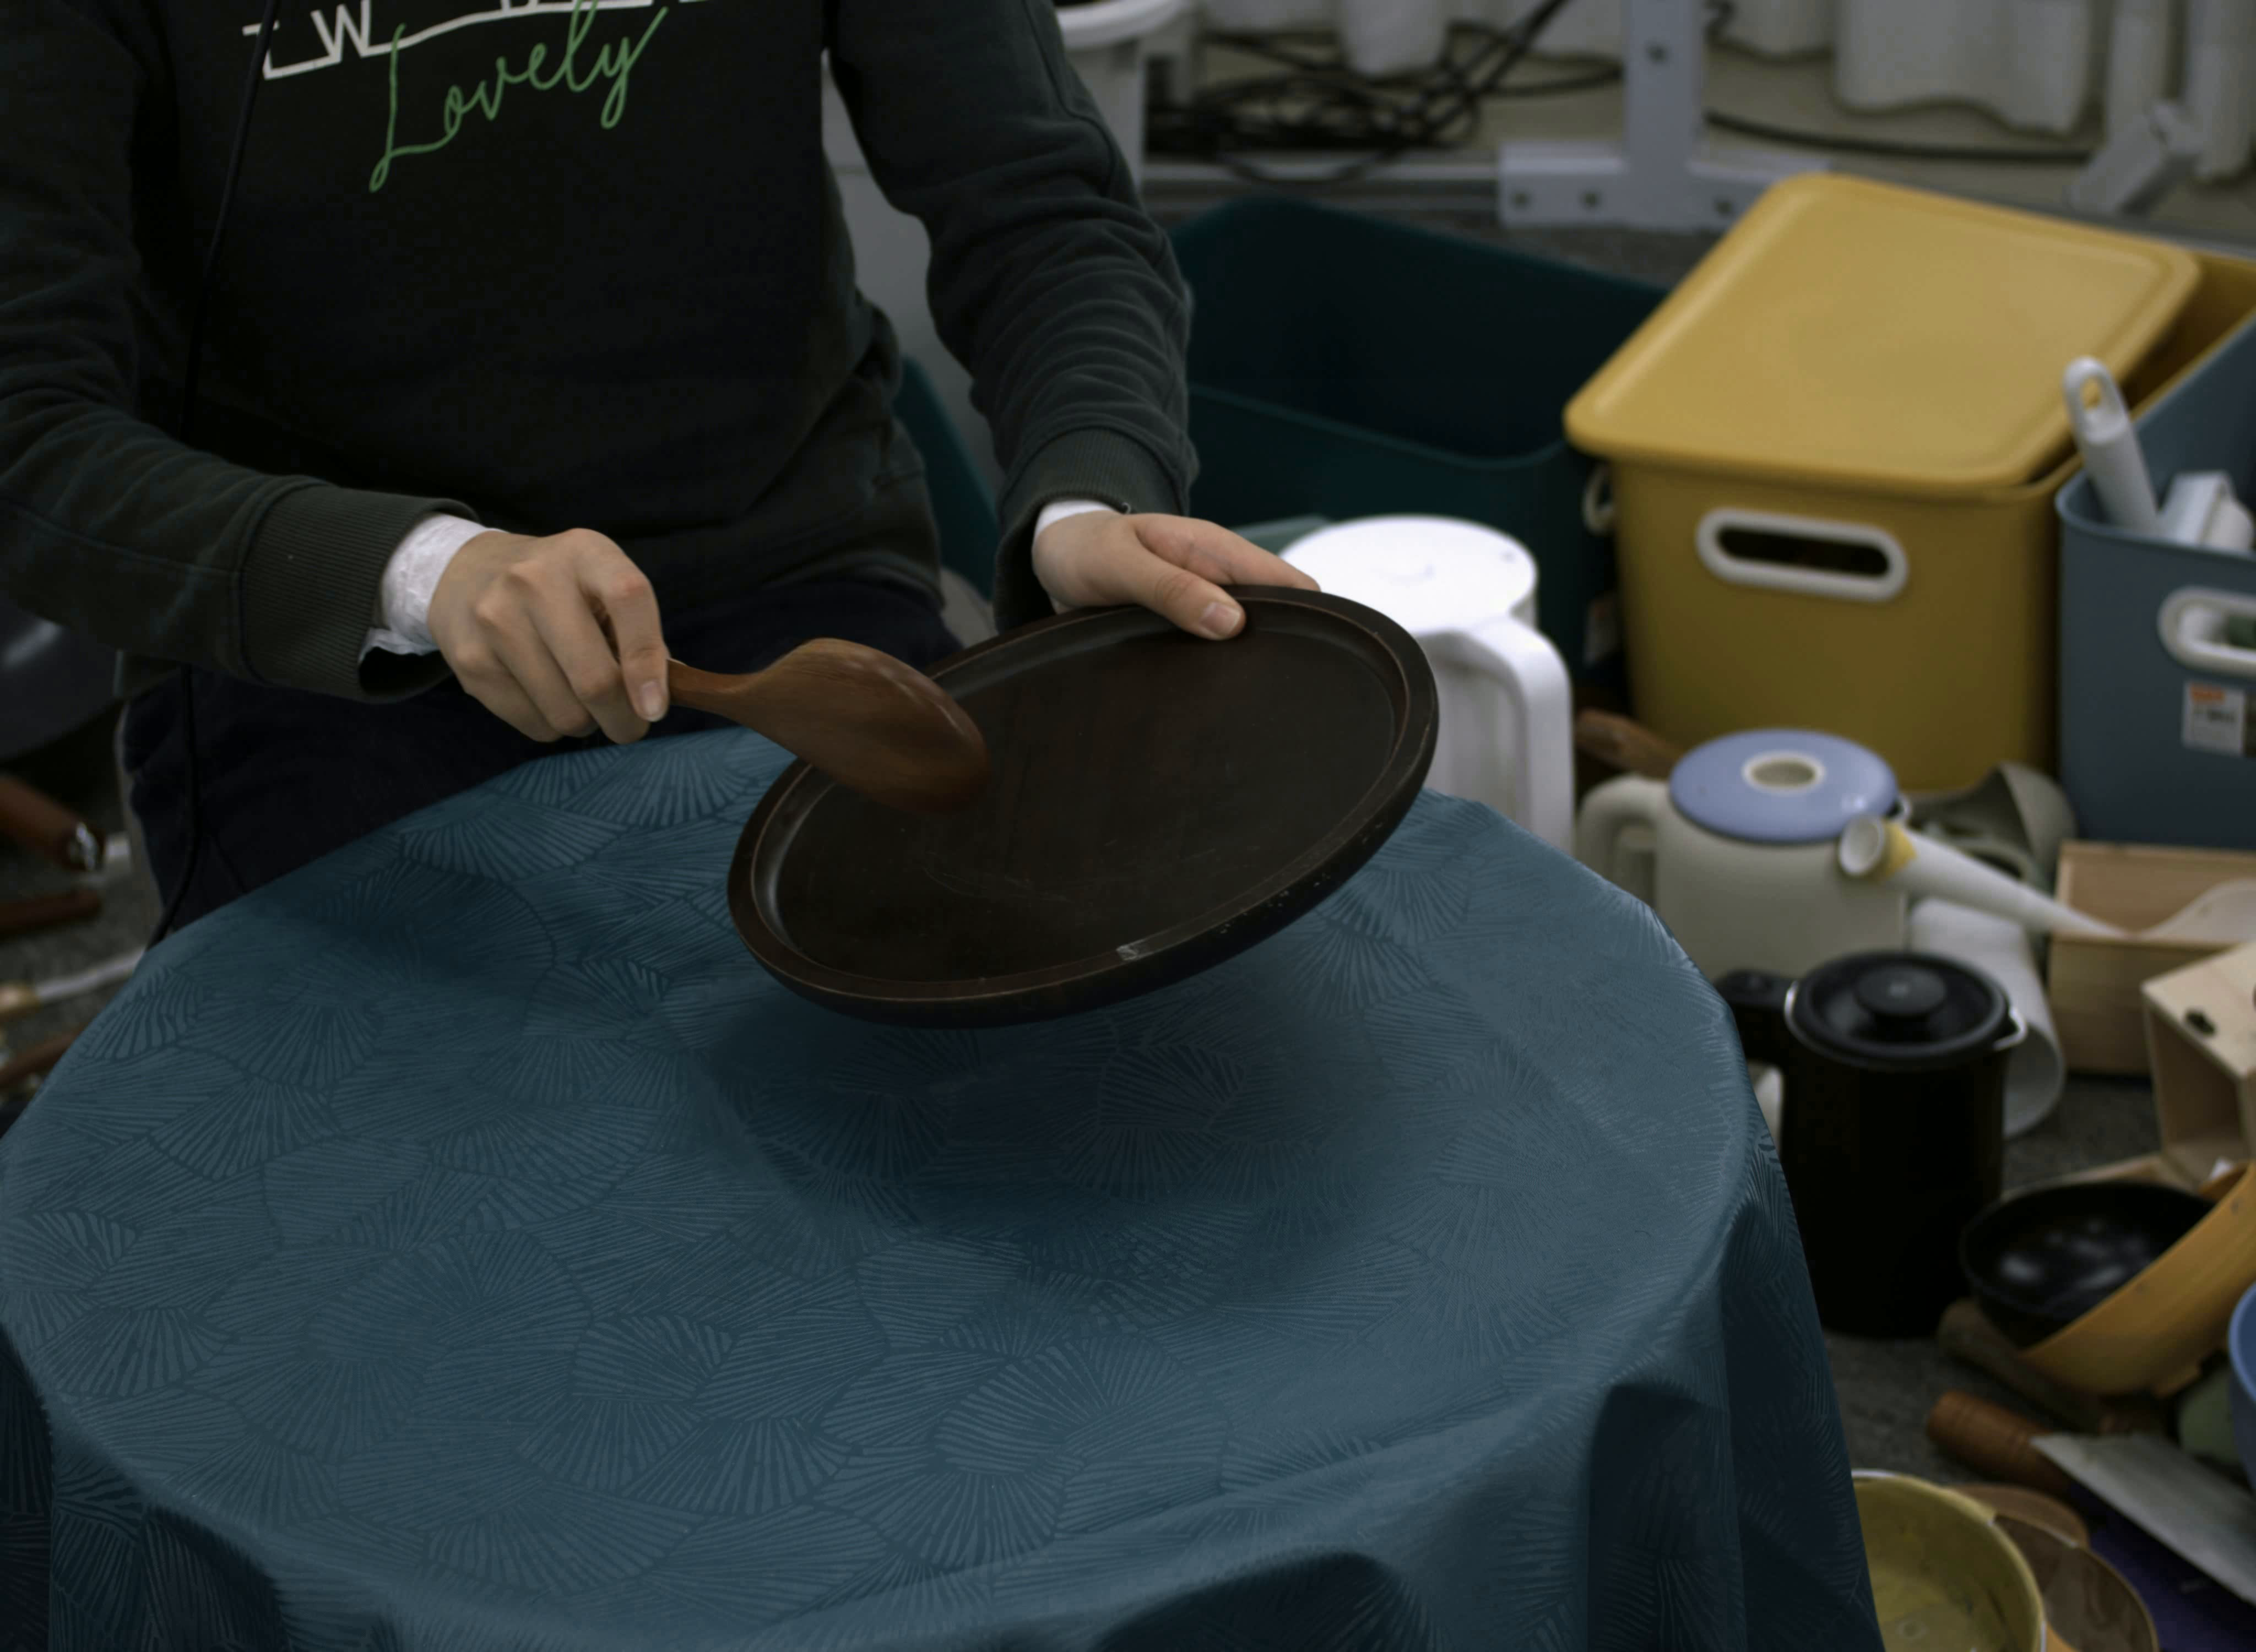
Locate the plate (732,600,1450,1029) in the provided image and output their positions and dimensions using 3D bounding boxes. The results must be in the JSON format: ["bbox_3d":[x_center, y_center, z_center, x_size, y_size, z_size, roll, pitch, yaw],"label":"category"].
[{"bbox_3d":[-0.012,-0.006,1.905,0.253,0.029,0.259,-13,29,8],"label":"plate"}]

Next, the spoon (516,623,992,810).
[{"bbox_3d":[-0.130,-0.041,1.892,0.214,0.074,0.017,13,53,41],"label":"spoon"}]
